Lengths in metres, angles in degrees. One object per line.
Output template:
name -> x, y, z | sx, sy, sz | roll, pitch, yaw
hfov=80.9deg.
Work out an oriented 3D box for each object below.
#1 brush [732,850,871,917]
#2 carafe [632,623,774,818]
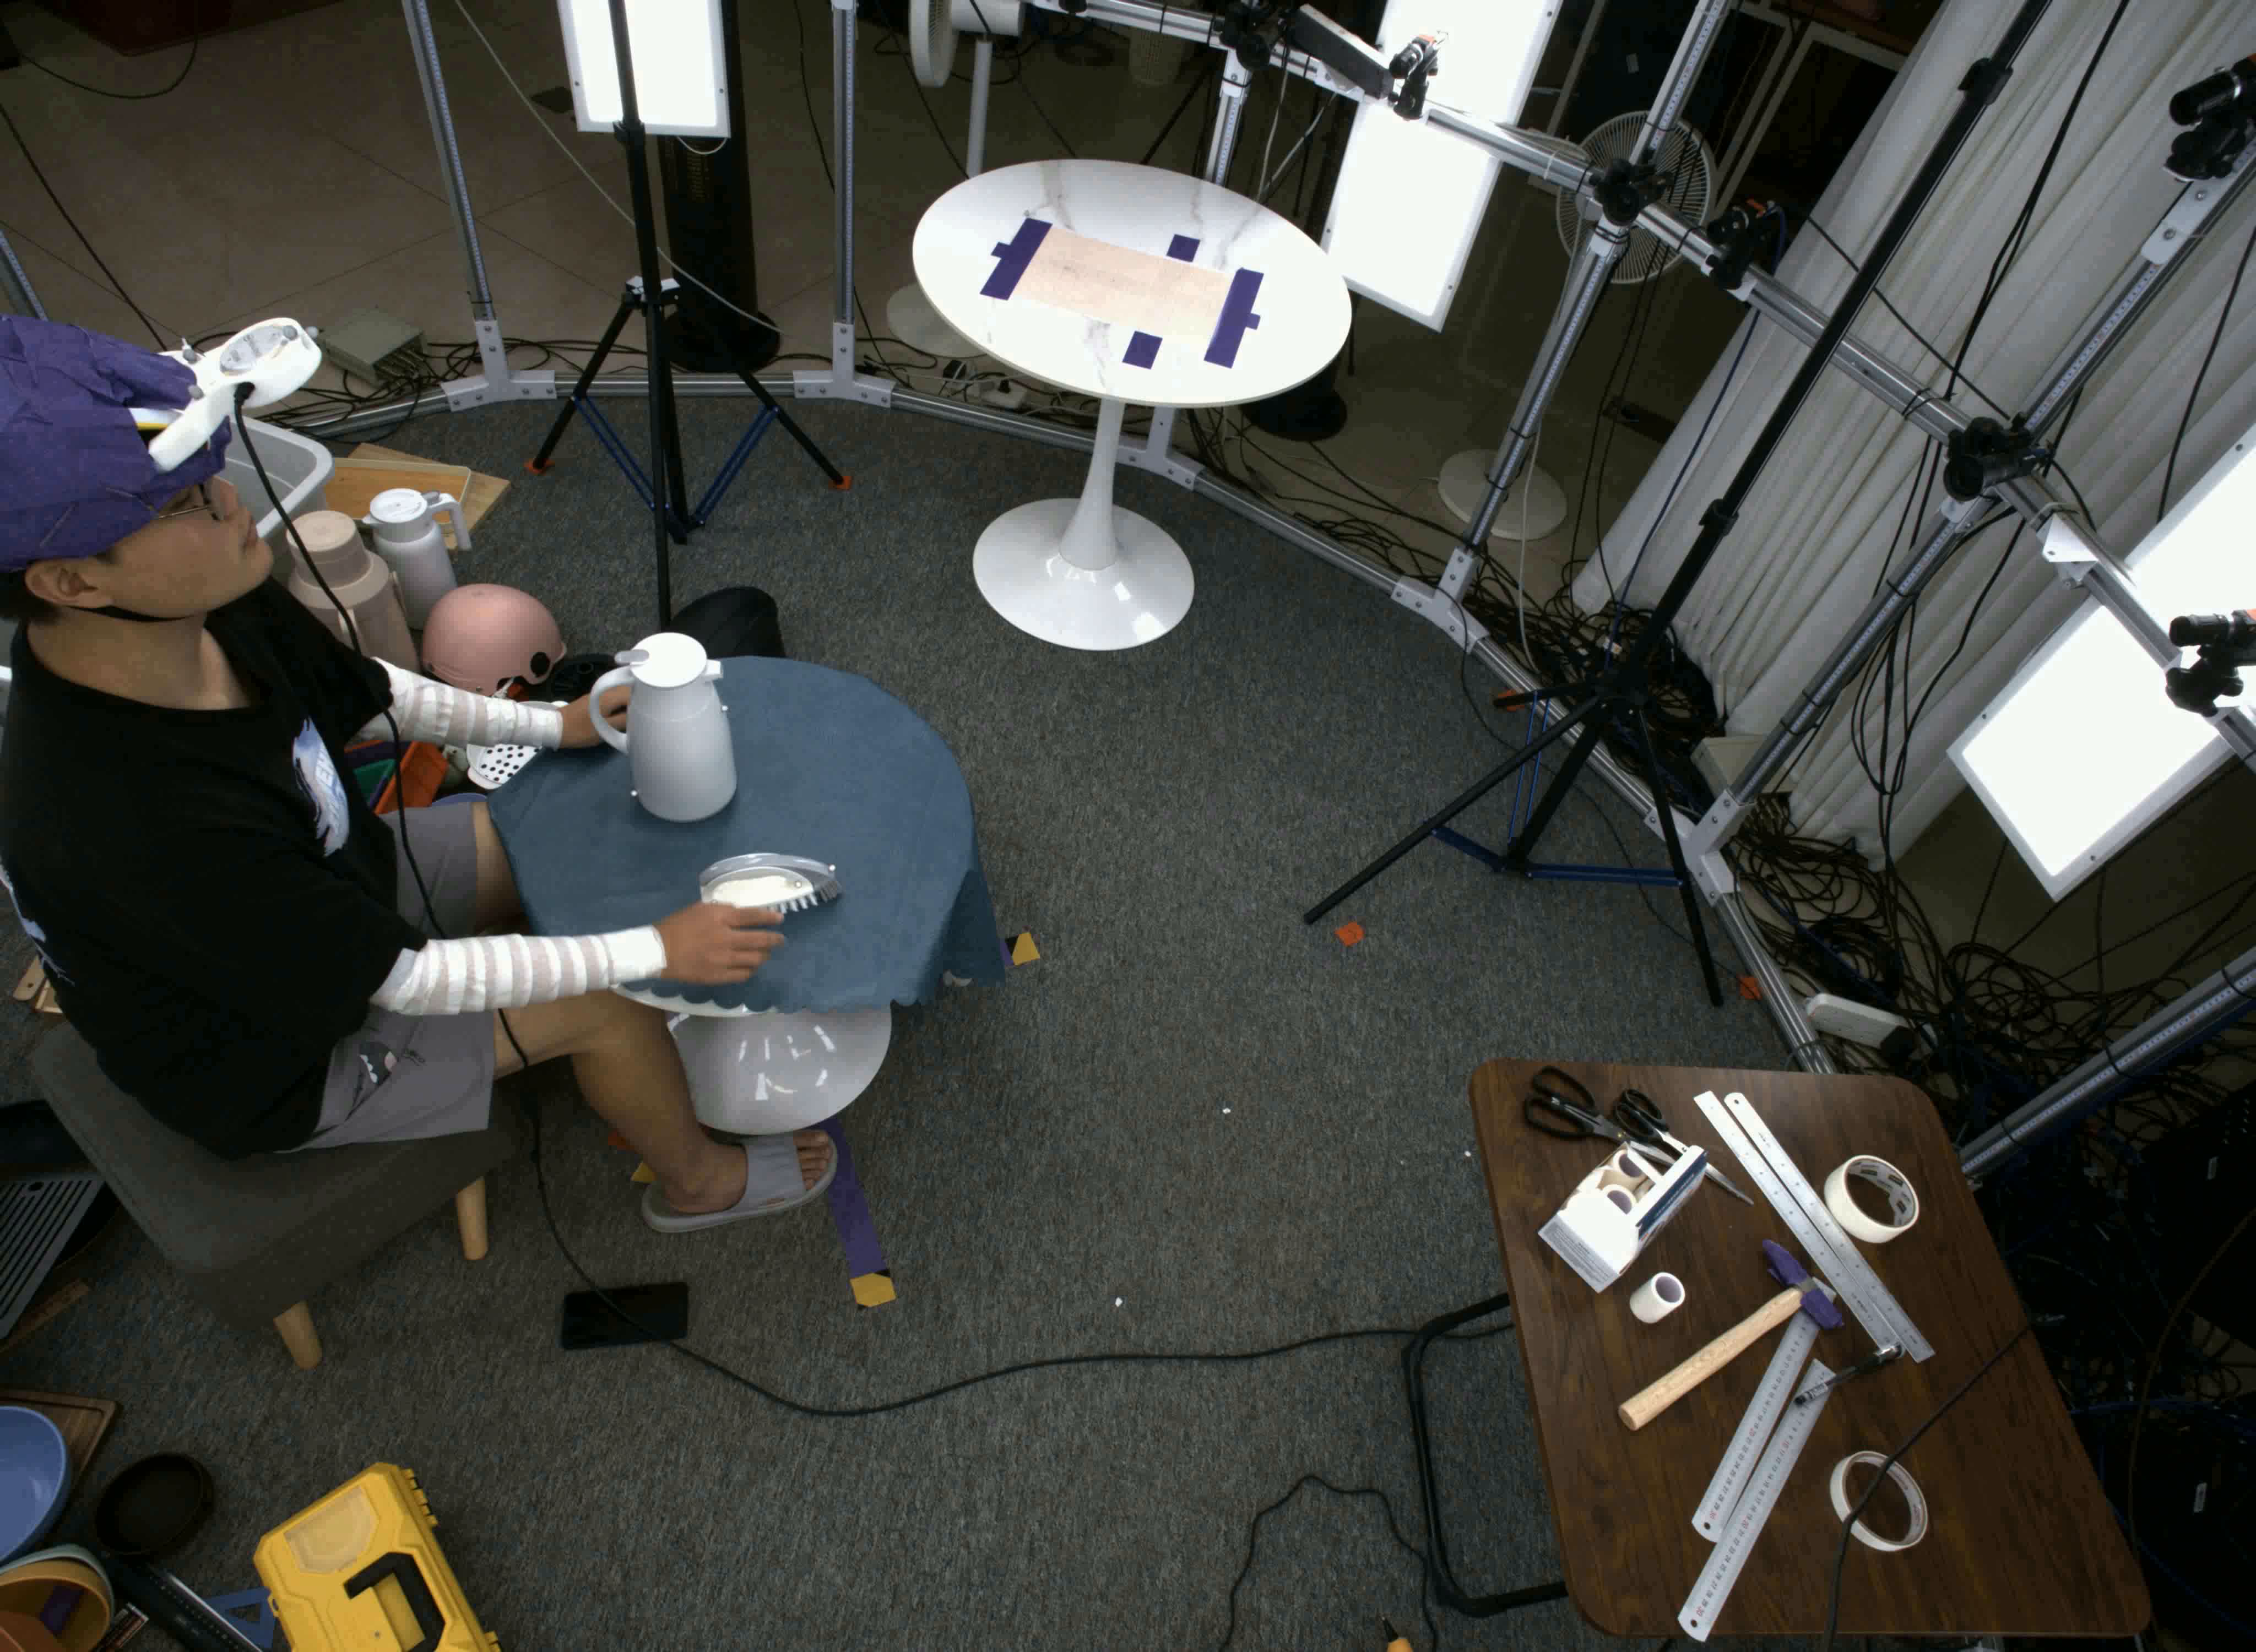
brush -> -0.410, 0.060, 1.634 | 0.176, 0.096, 0.060 | -5, 56, -18
carafe -> -0.548, -0.139, 1.647 | 0.168, 0.254, 0.129 | -2, 53, -12
